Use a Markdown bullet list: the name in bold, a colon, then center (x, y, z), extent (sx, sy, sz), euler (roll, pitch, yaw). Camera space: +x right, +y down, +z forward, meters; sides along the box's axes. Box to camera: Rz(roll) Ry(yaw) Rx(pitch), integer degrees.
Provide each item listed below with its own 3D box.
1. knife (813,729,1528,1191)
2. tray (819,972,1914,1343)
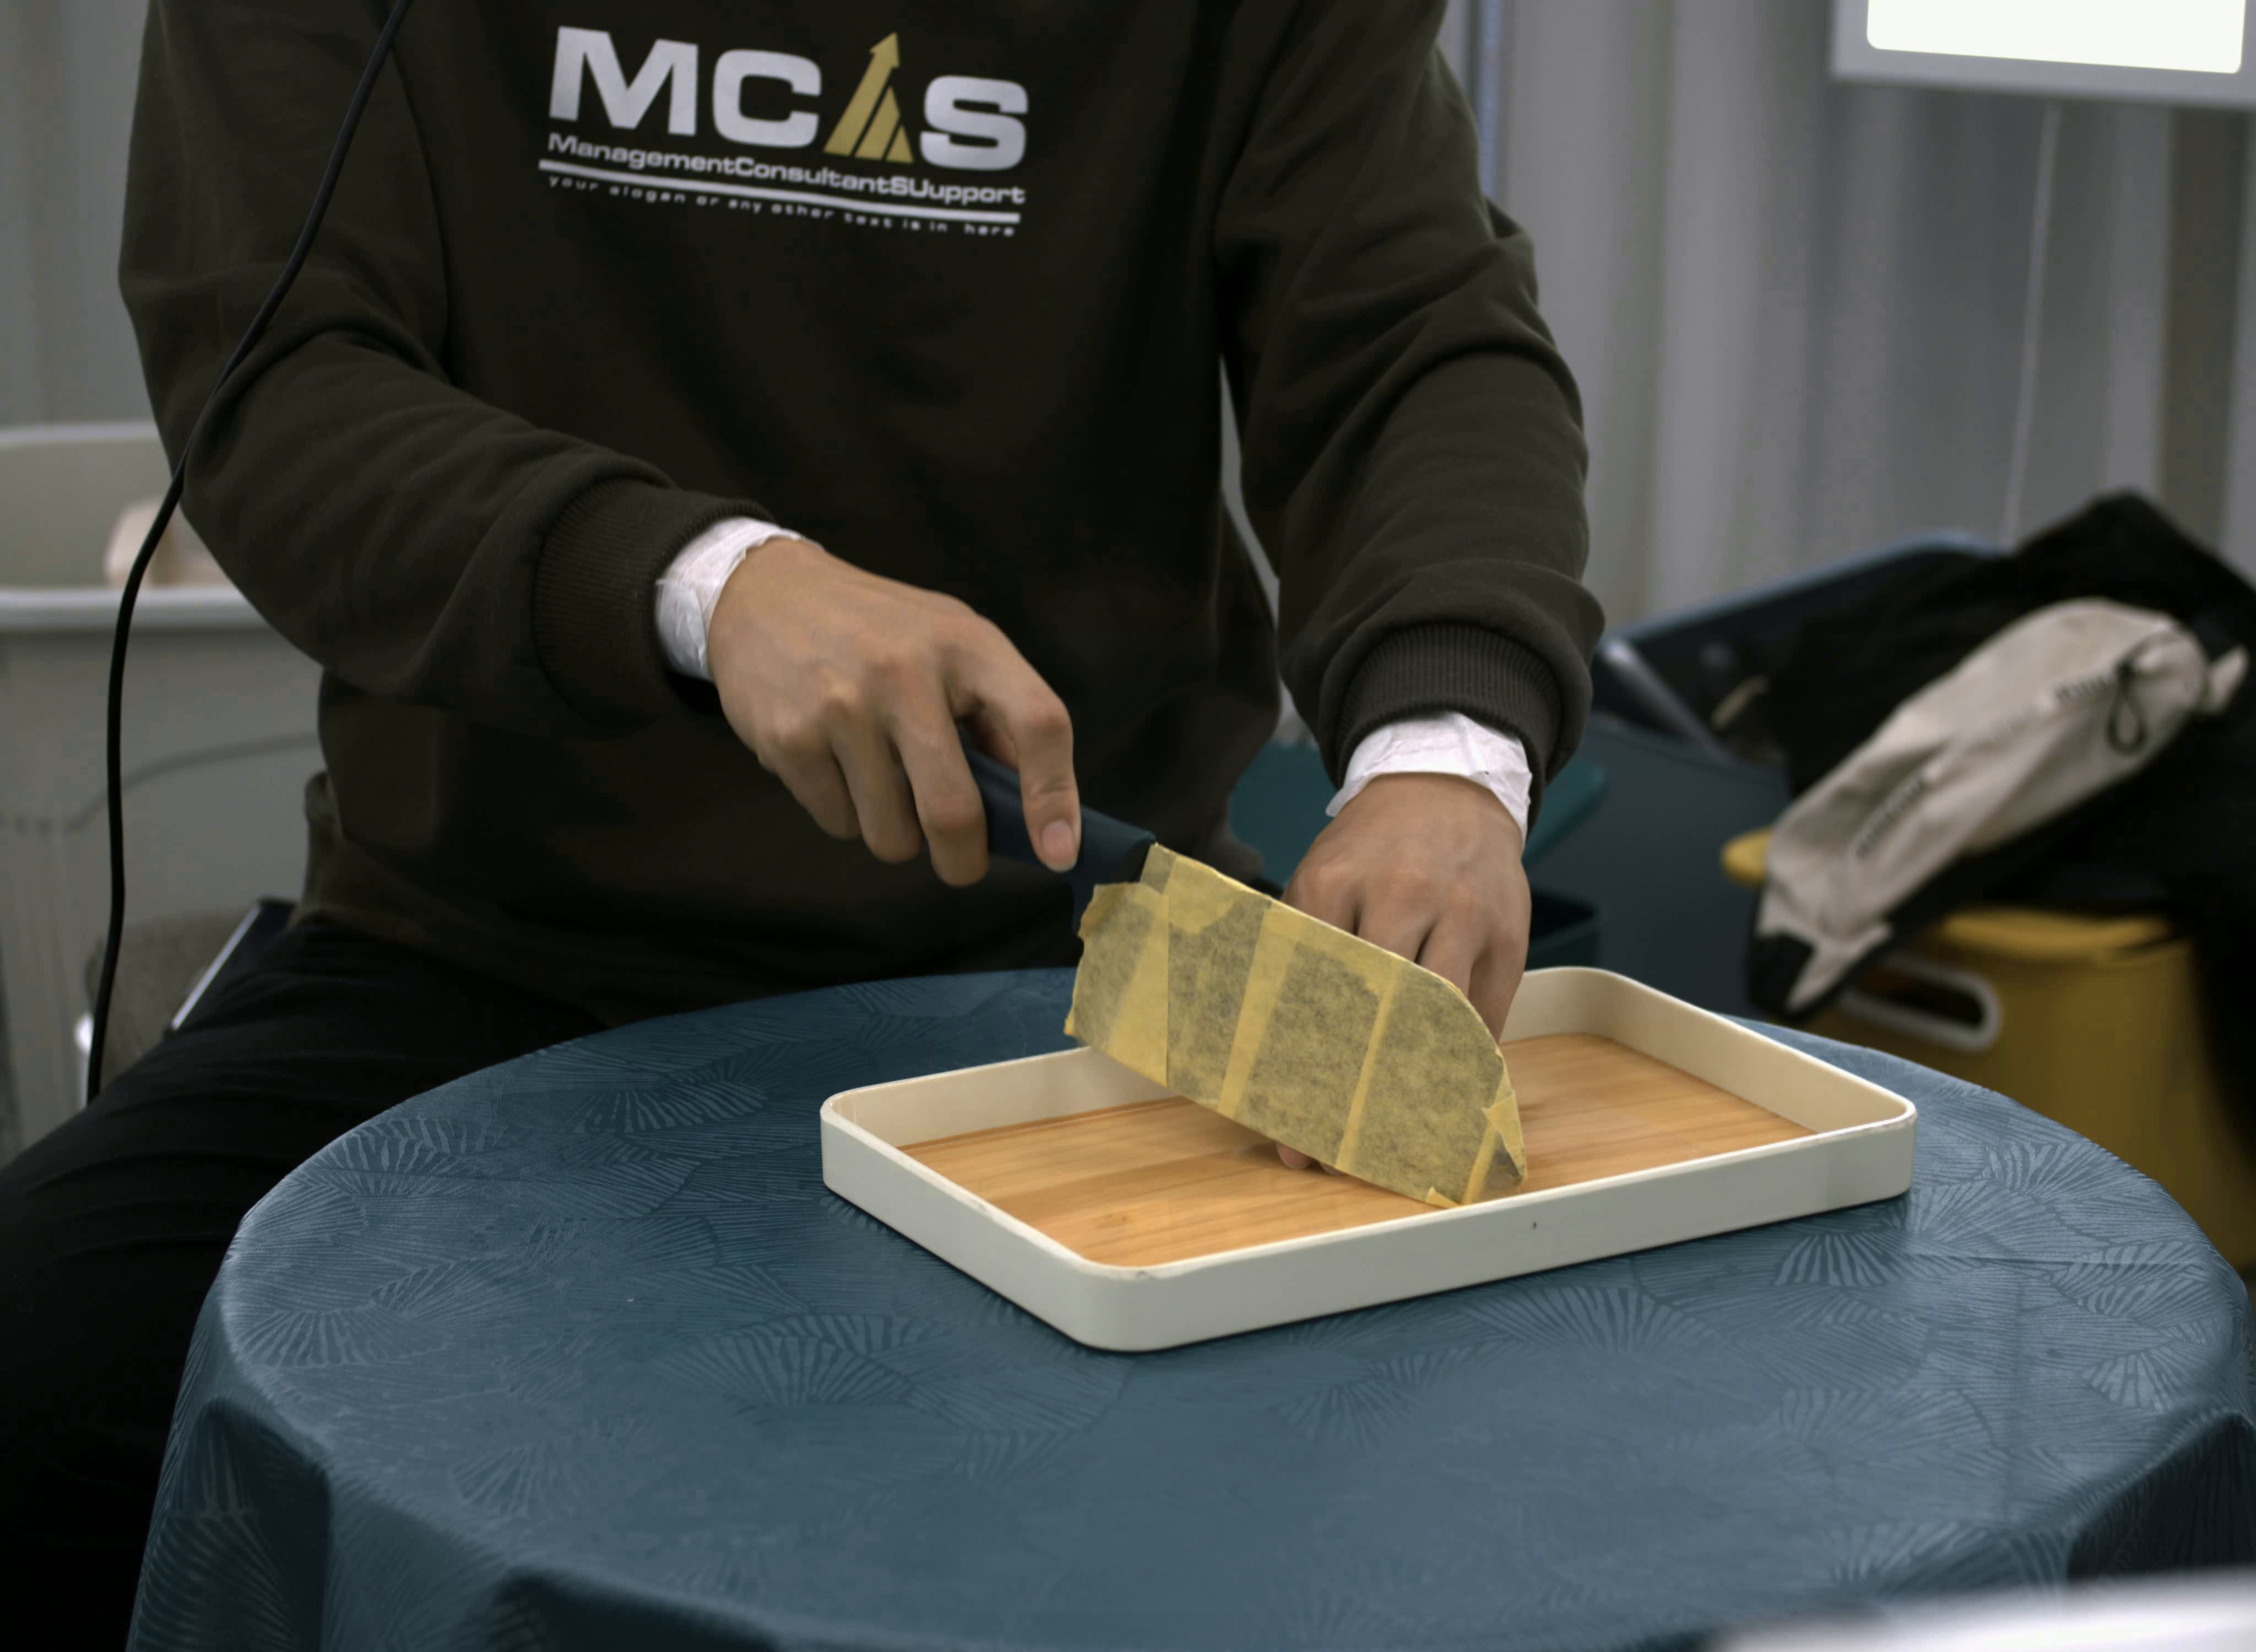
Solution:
- **knife**: center (0.009, 0.041, 1.640), extent (0.286, 0.081, 0.027), euler (28, 21, 29)
- **tray**: center (0.074, 0.098, 1.629), extent (0.301, 0.027, 0.189), euler (-8, 16, -30)
